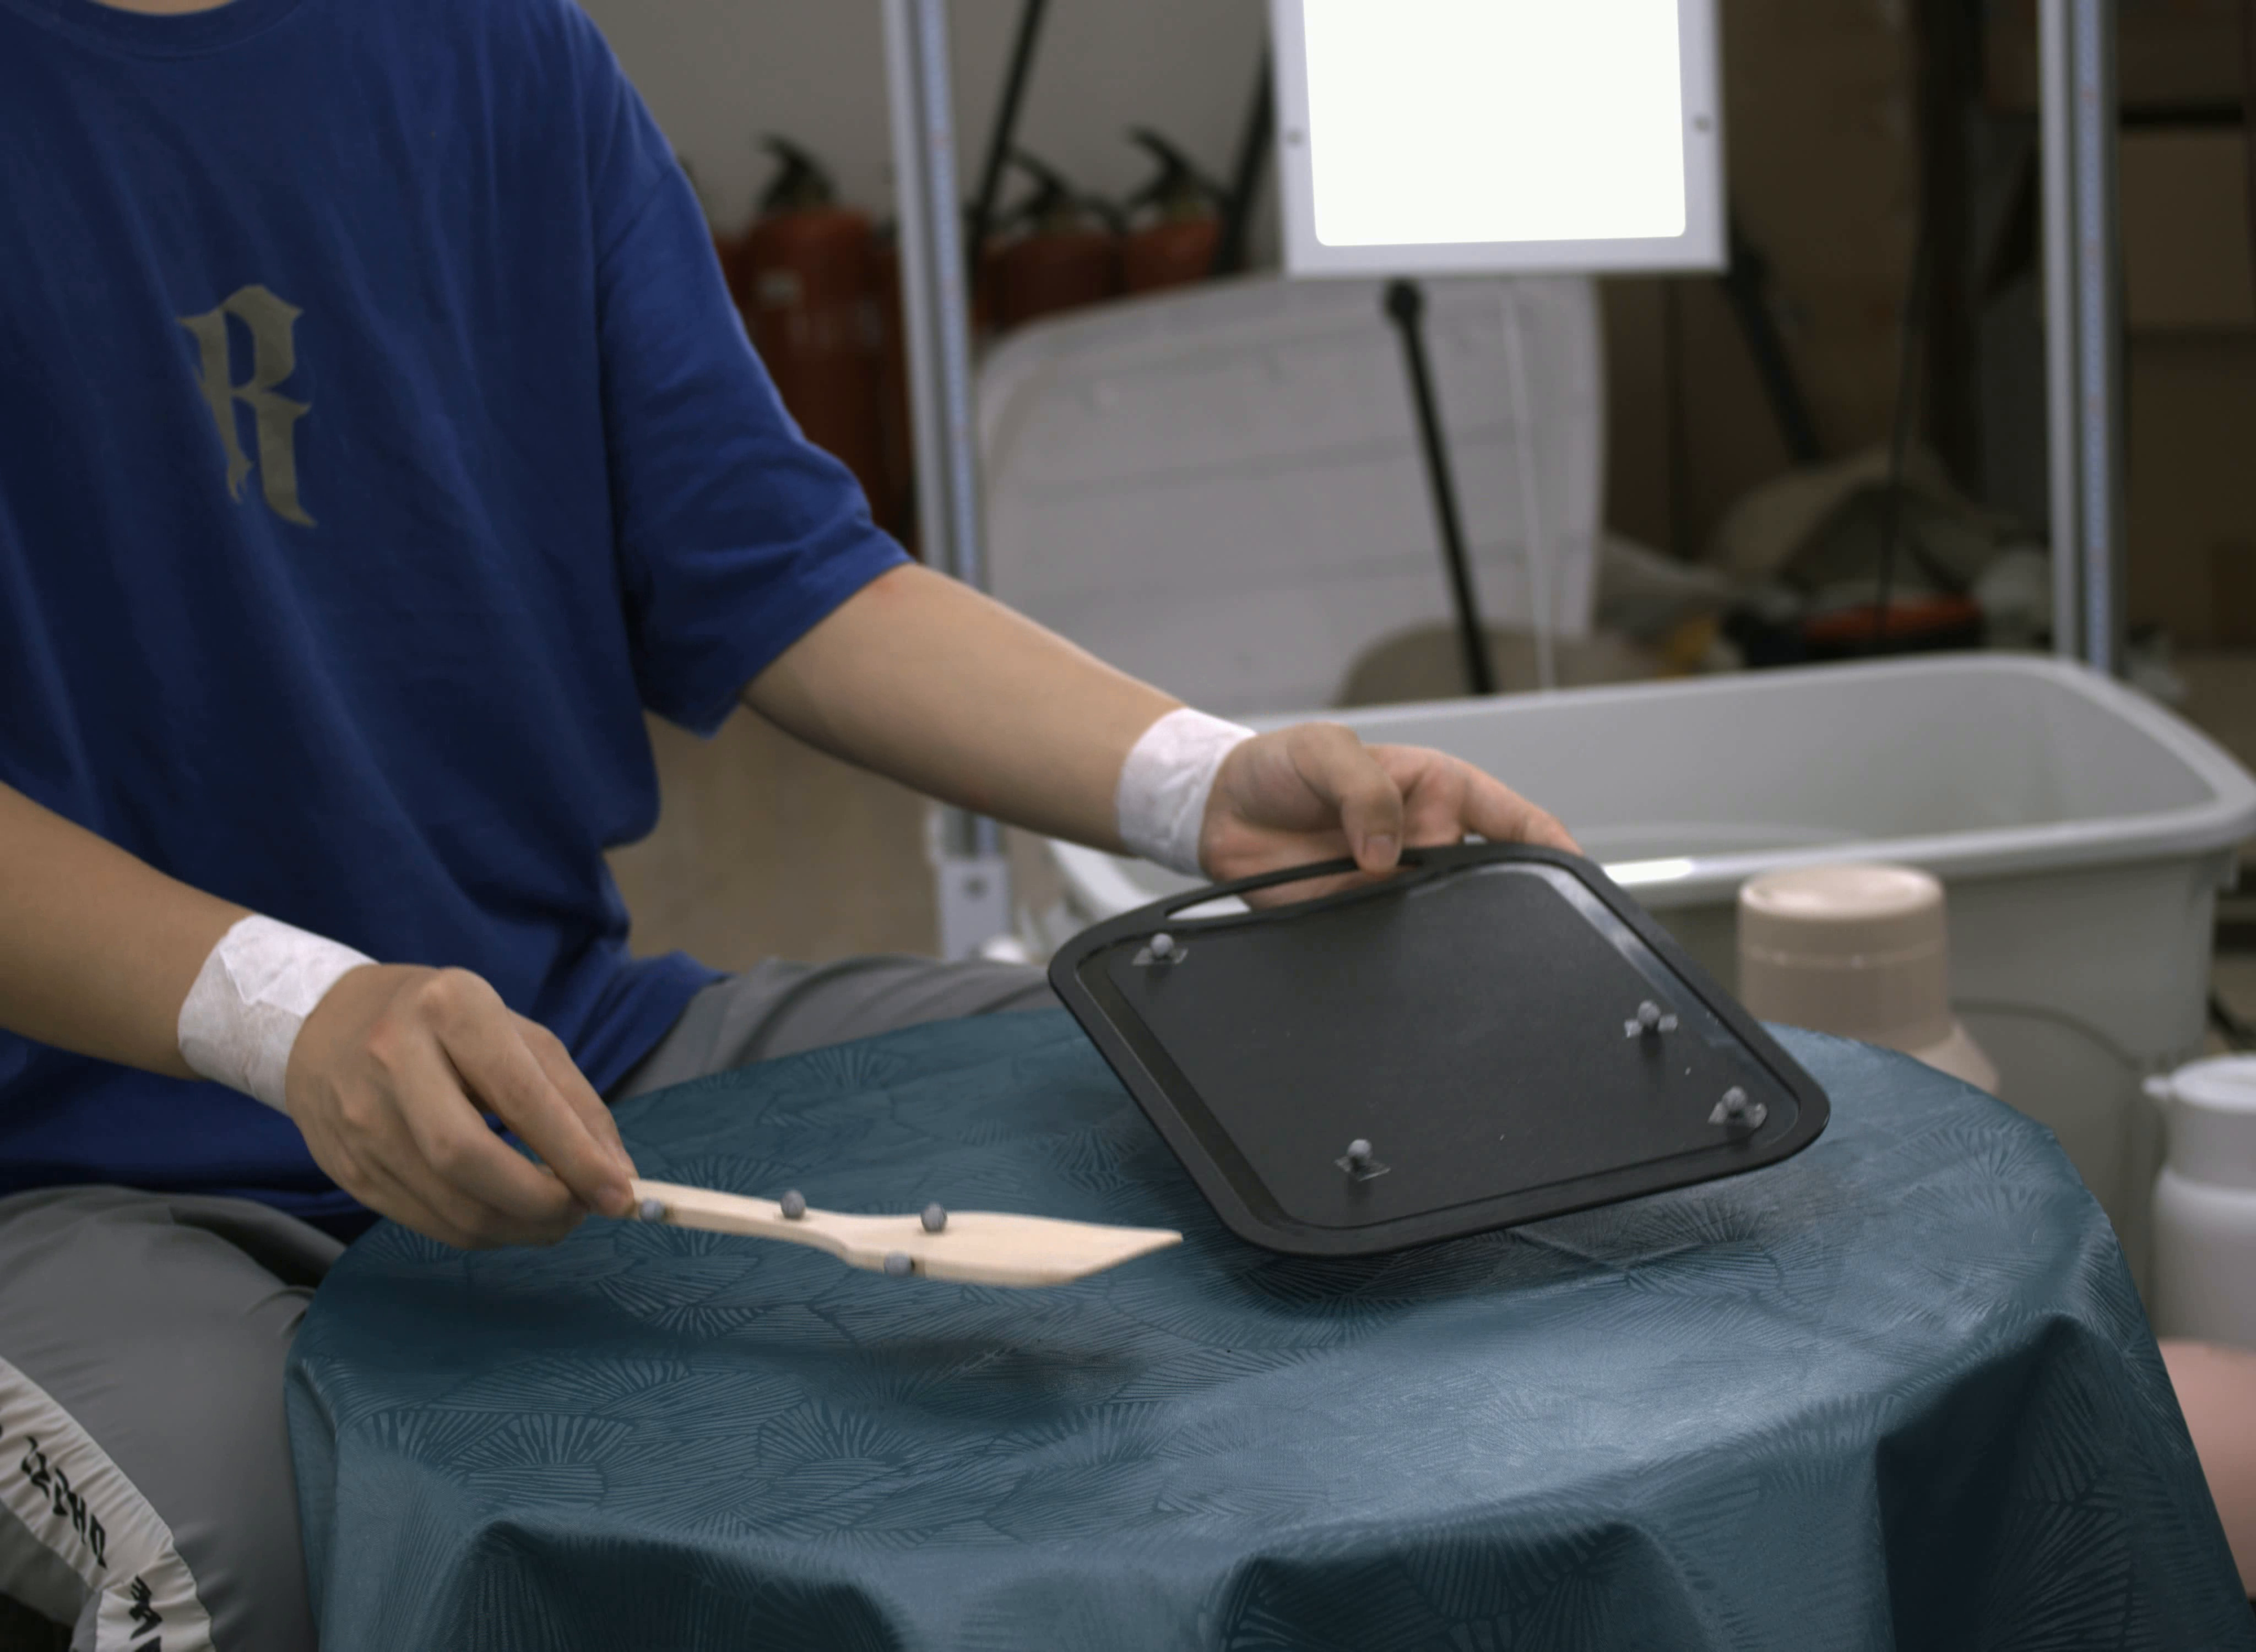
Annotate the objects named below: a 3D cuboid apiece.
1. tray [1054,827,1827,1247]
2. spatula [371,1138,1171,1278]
[{"bbox_3d":[0.098,0.065,1.907,0.209,0.010,0.328,-13,23,-10],"label":"tray"},{"bbox_3d":[-0.126,0.122,1.782,0.299,0.011,0.070,5,10,33],"label":"spatula"}]
